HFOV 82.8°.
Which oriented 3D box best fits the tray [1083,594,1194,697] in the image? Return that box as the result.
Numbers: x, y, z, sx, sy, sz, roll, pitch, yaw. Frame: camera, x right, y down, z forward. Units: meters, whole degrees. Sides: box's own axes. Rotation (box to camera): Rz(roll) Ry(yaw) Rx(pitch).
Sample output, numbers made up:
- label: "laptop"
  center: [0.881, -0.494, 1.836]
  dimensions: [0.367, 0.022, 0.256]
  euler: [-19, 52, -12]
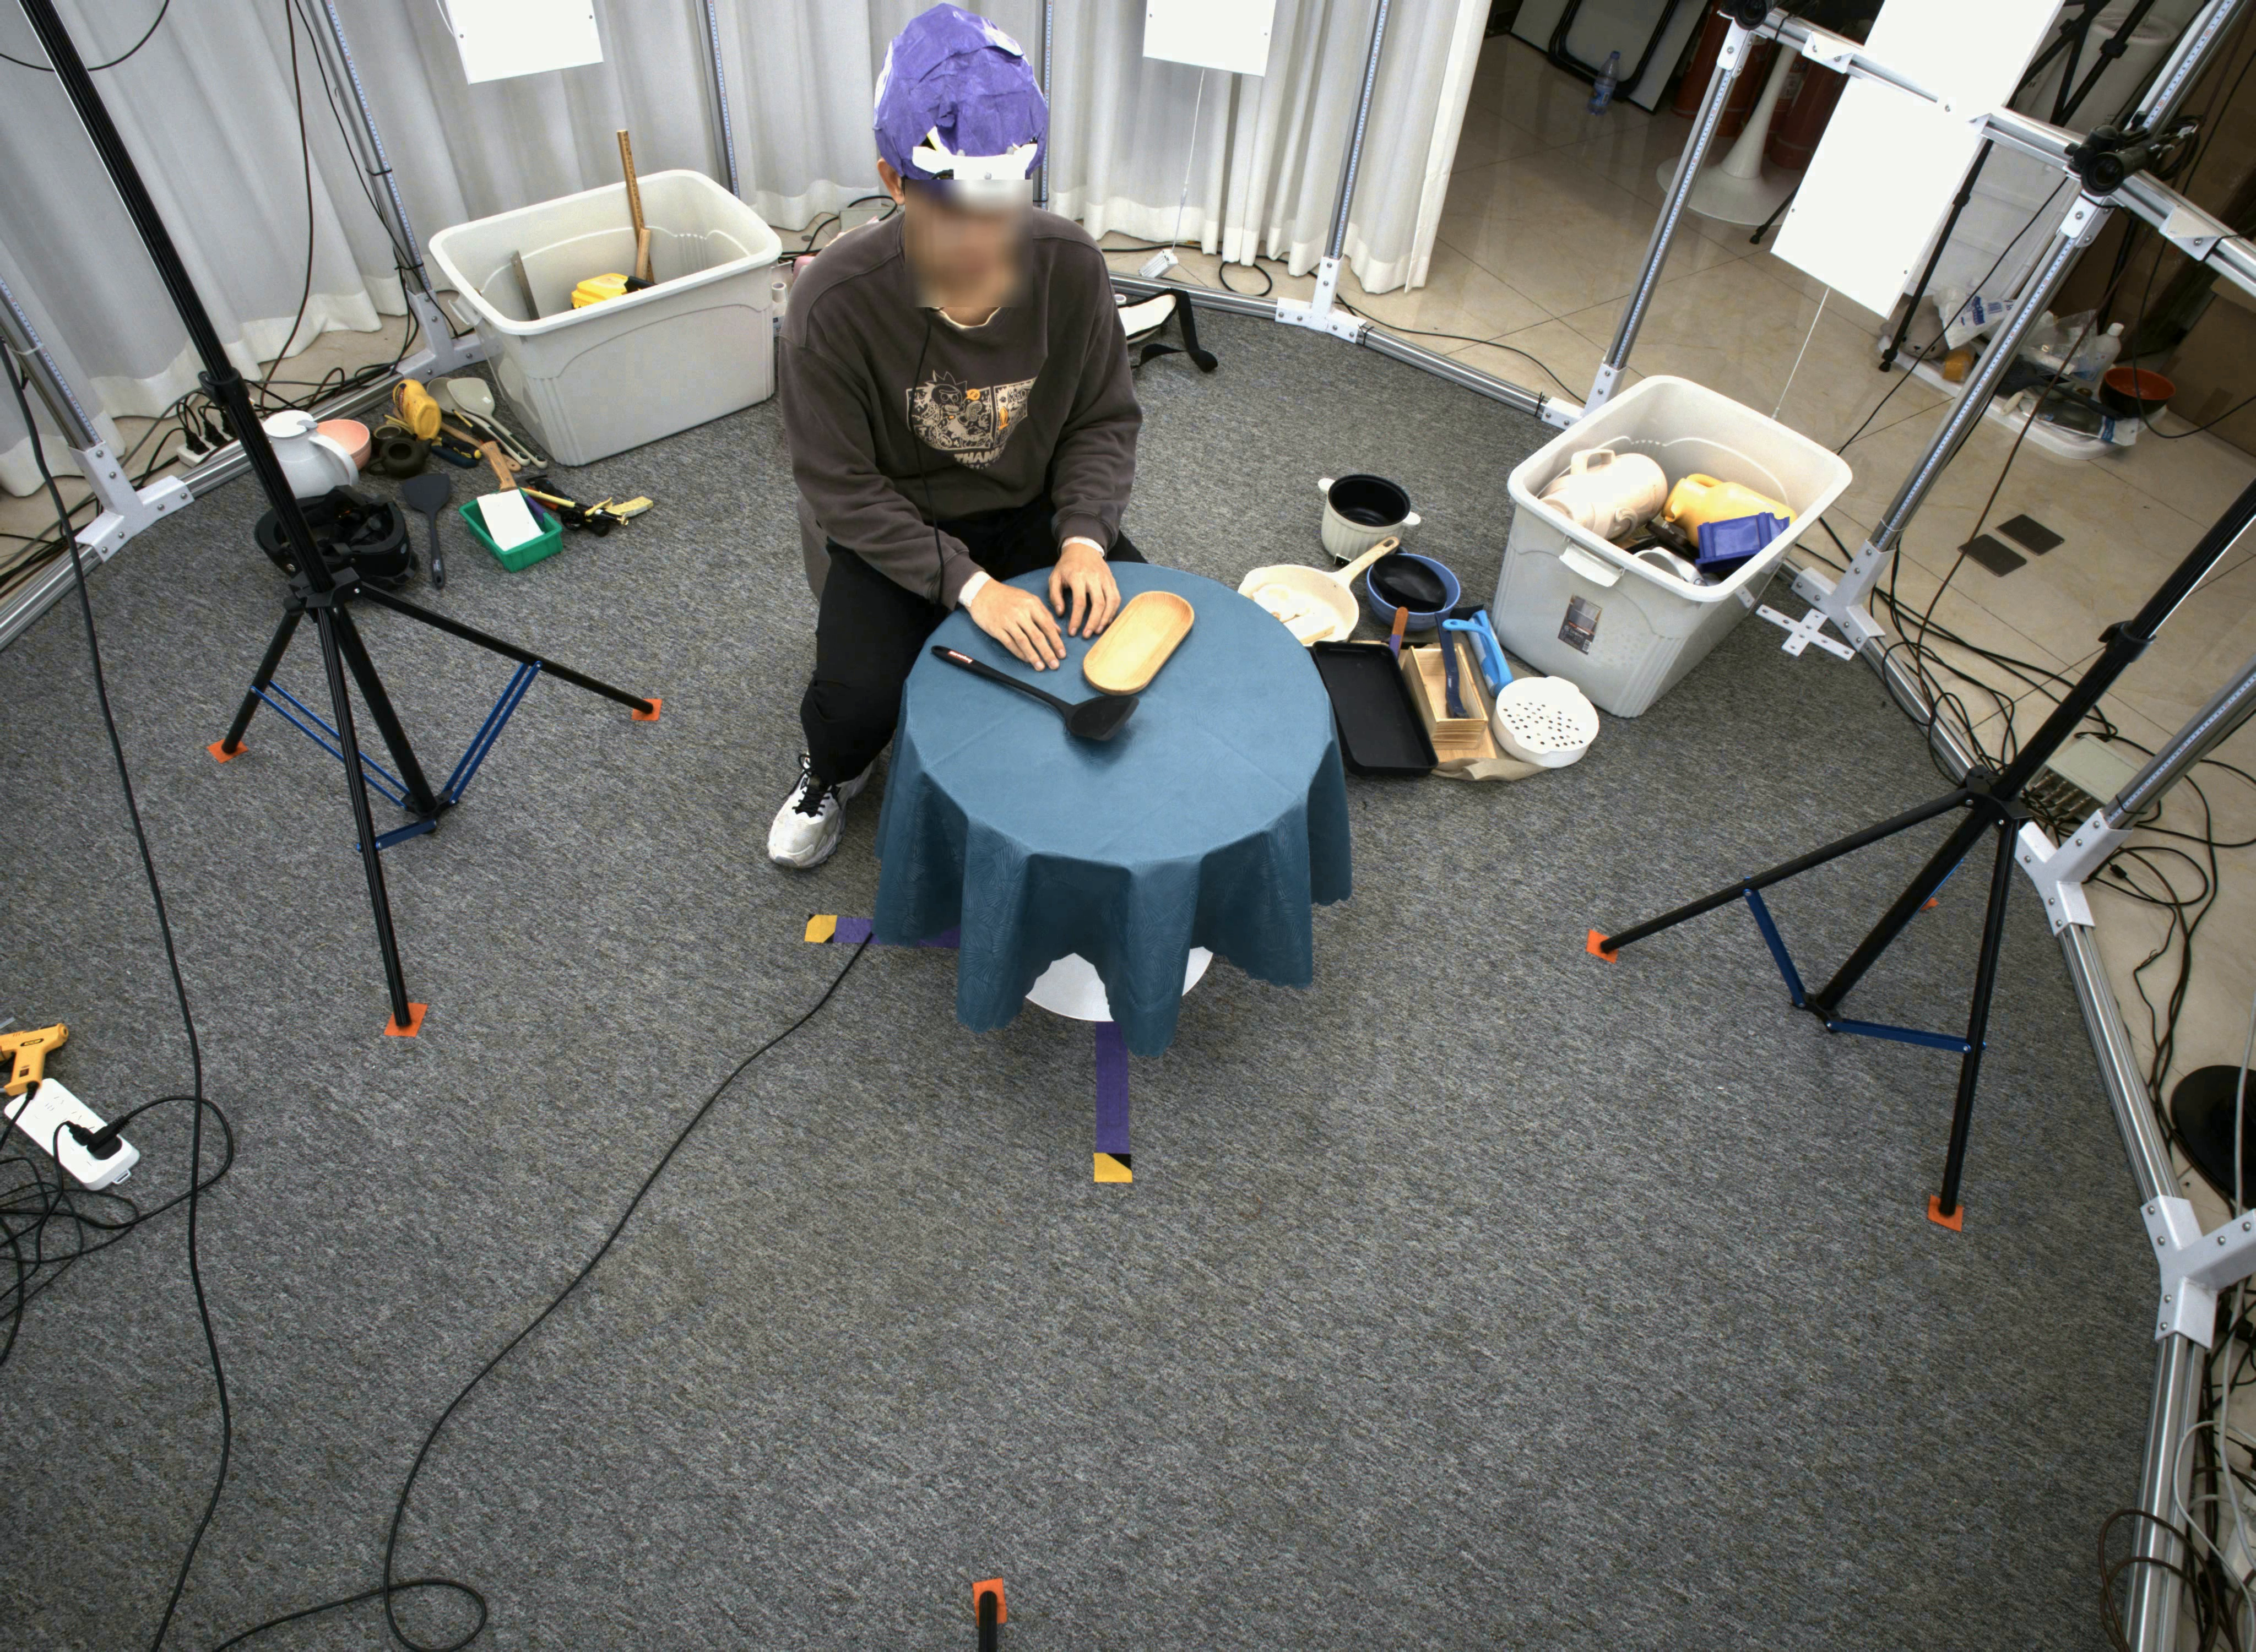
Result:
- label: "tray"
  center: [0.017, -0.267, 1.889]
  dimensions: [0.102, 0.020, 0.235]
  euler: [23, 52, 16]

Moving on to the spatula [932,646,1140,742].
- label: "spatula"
  center: [-0.142, -0.198, 1.806]
  dimensions: [0.329, 0.039, 0.101]
  euler: [26, 51, 18]
